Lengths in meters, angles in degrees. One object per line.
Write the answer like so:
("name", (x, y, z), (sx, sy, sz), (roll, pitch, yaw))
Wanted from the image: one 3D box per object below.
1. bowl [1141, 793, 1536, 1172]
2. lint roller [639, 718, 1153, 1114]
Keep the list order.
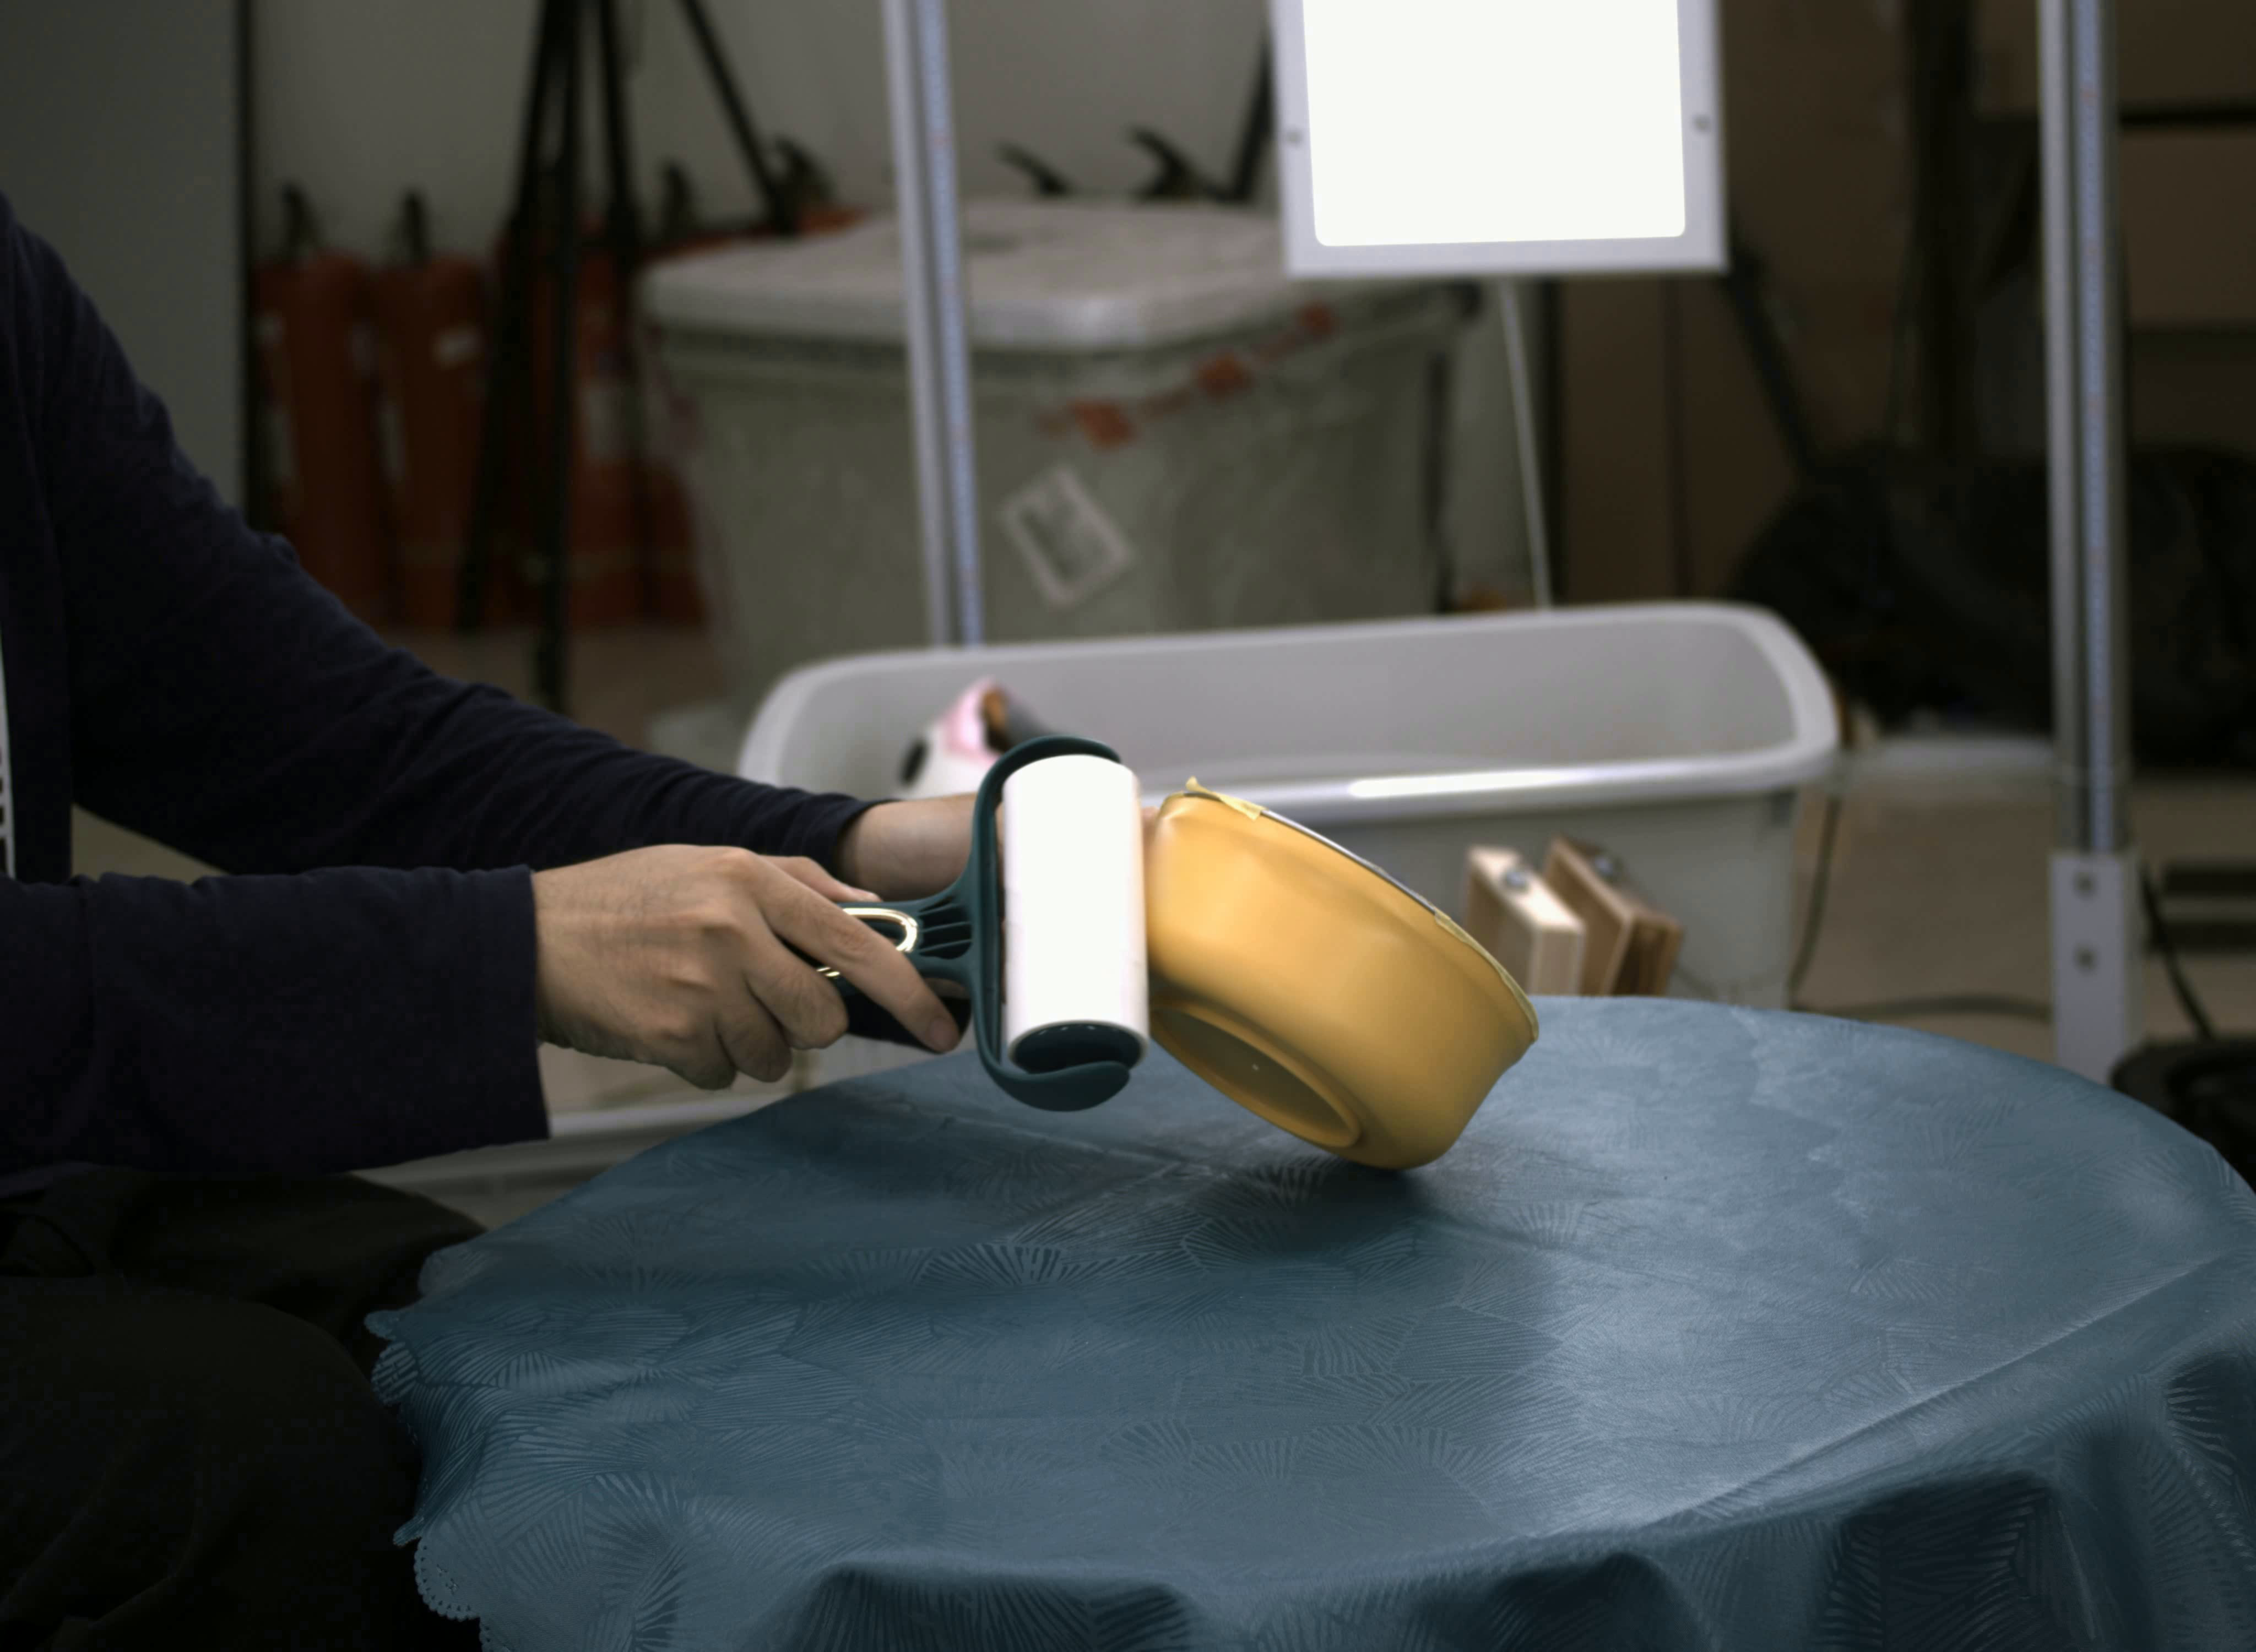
("bowl", (0.048, 0.055, 1.892), (0.182, 0.074, 0.151), (24, -14, 31))
("lint roller", (-0.082, 0.038, 1.846), (0.181, 0.134, 0.048), (-7, -29, 10))
